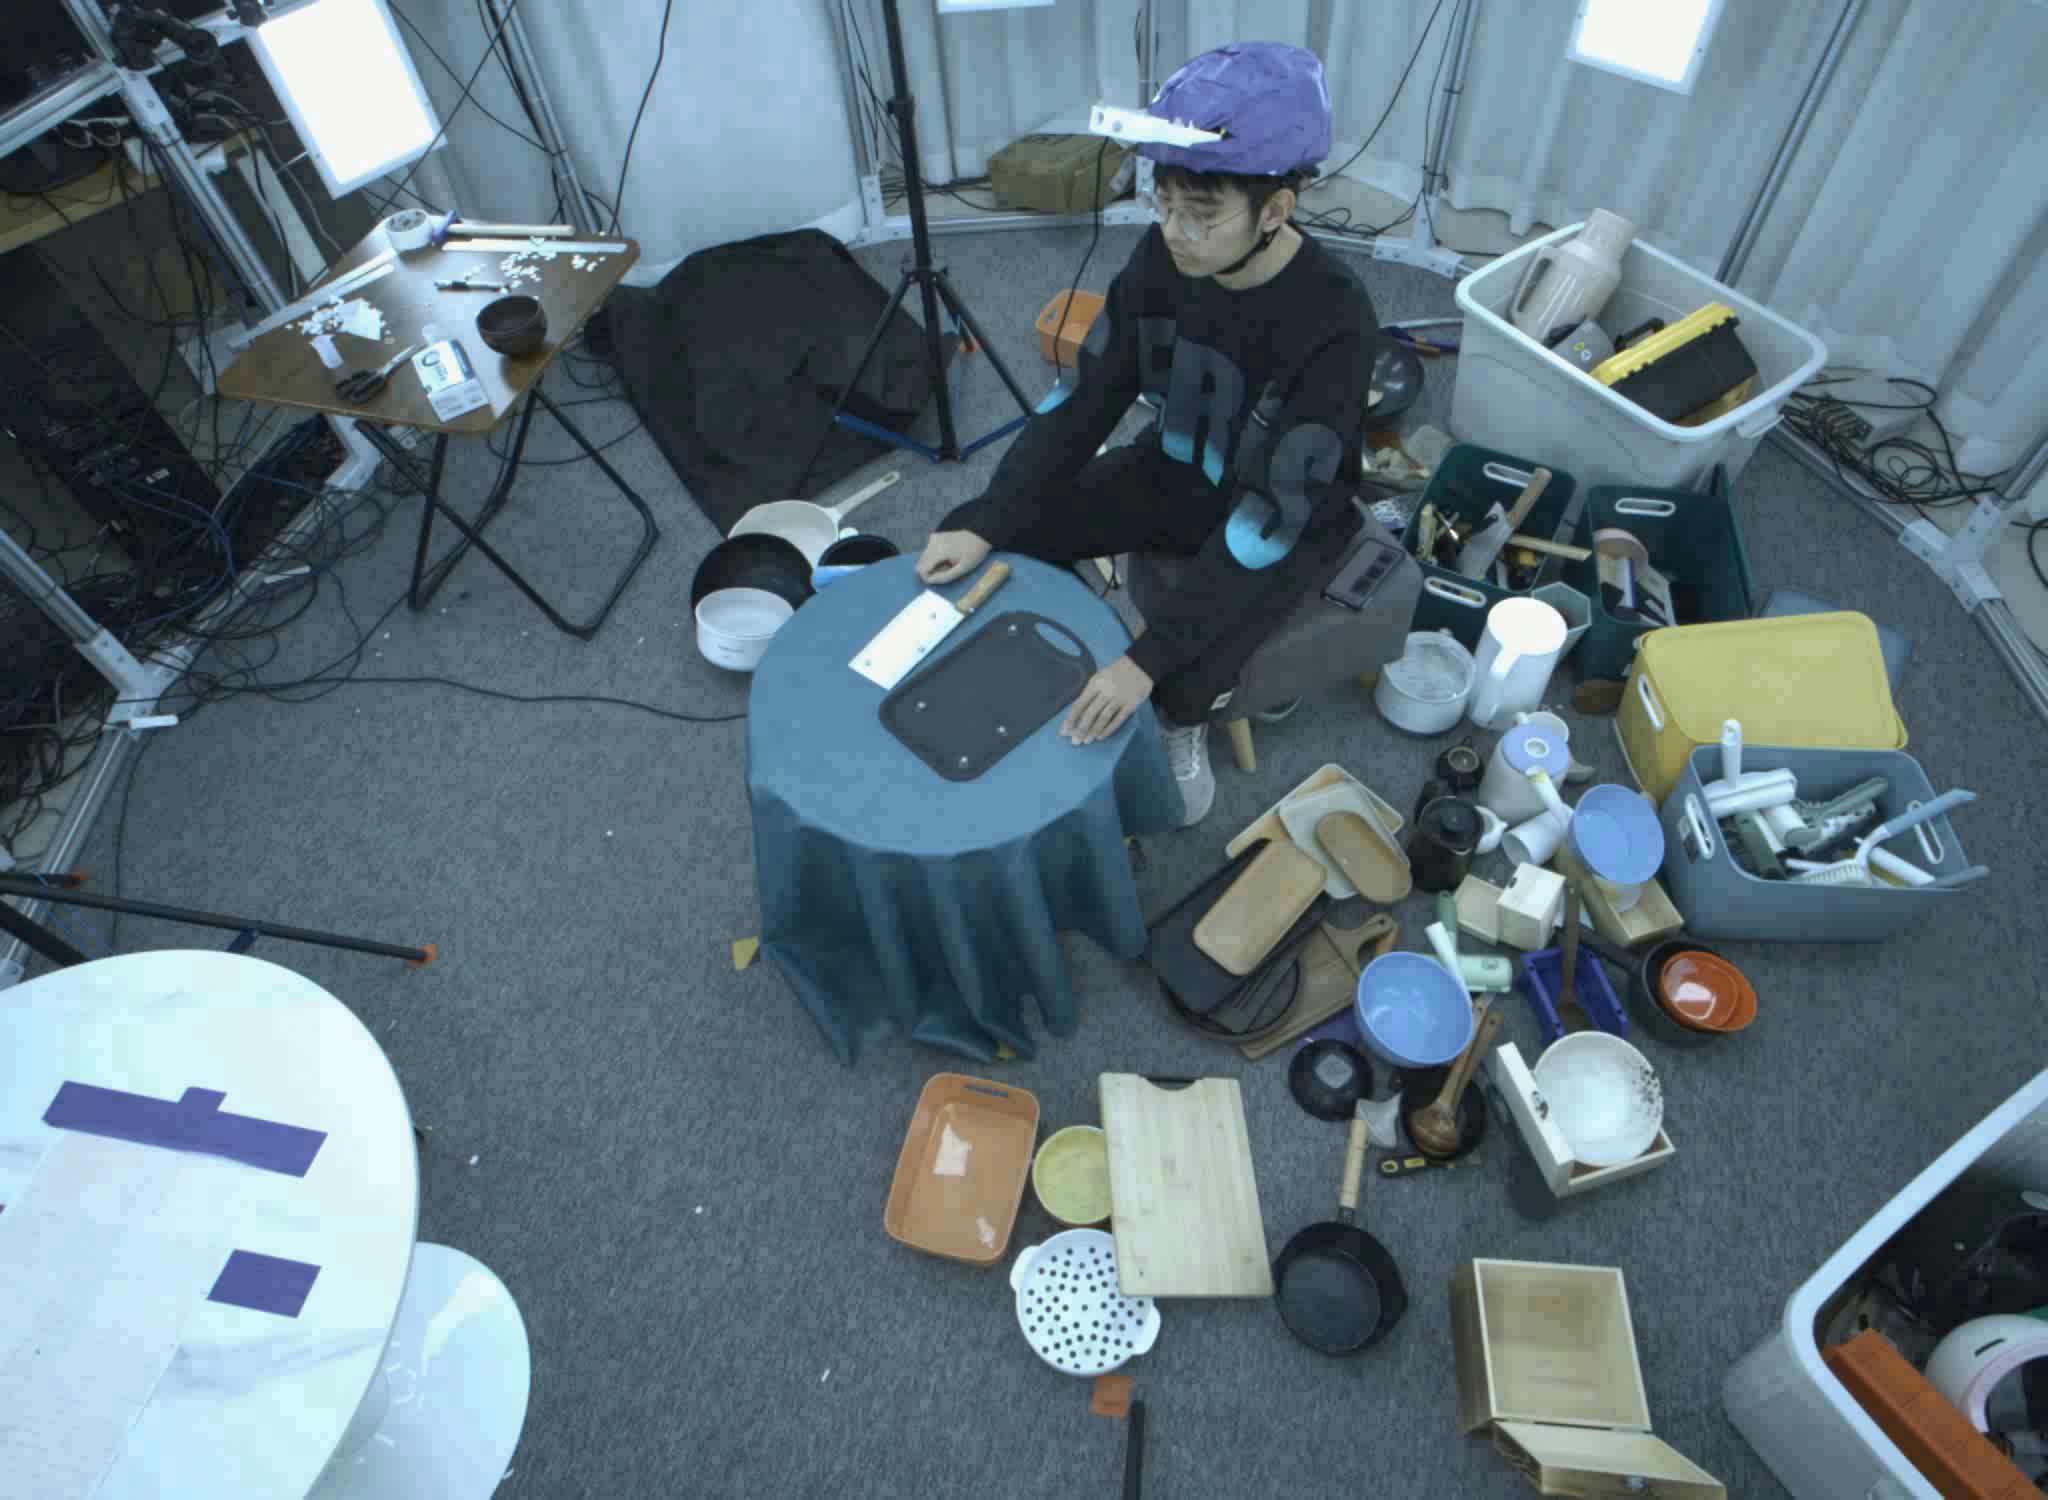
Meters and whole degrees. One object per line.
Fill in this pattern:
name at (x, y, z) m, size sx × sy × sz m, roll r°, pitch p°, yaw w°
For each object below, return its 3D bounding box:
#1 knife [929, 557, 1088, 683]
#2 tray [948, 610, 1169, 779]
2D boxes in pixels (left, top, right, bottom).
knife at (-0.027, -0.218, 1.933) m, size 0.091 × 0.021 × 0.307 m, roll 35°, pitch 65°, yaw 26°
tray at (0.058, -0.095, 1.848) m, size 0.328 × 0.010 × 0.207 m, roll -34°, pitch 61°, yaw -20°
